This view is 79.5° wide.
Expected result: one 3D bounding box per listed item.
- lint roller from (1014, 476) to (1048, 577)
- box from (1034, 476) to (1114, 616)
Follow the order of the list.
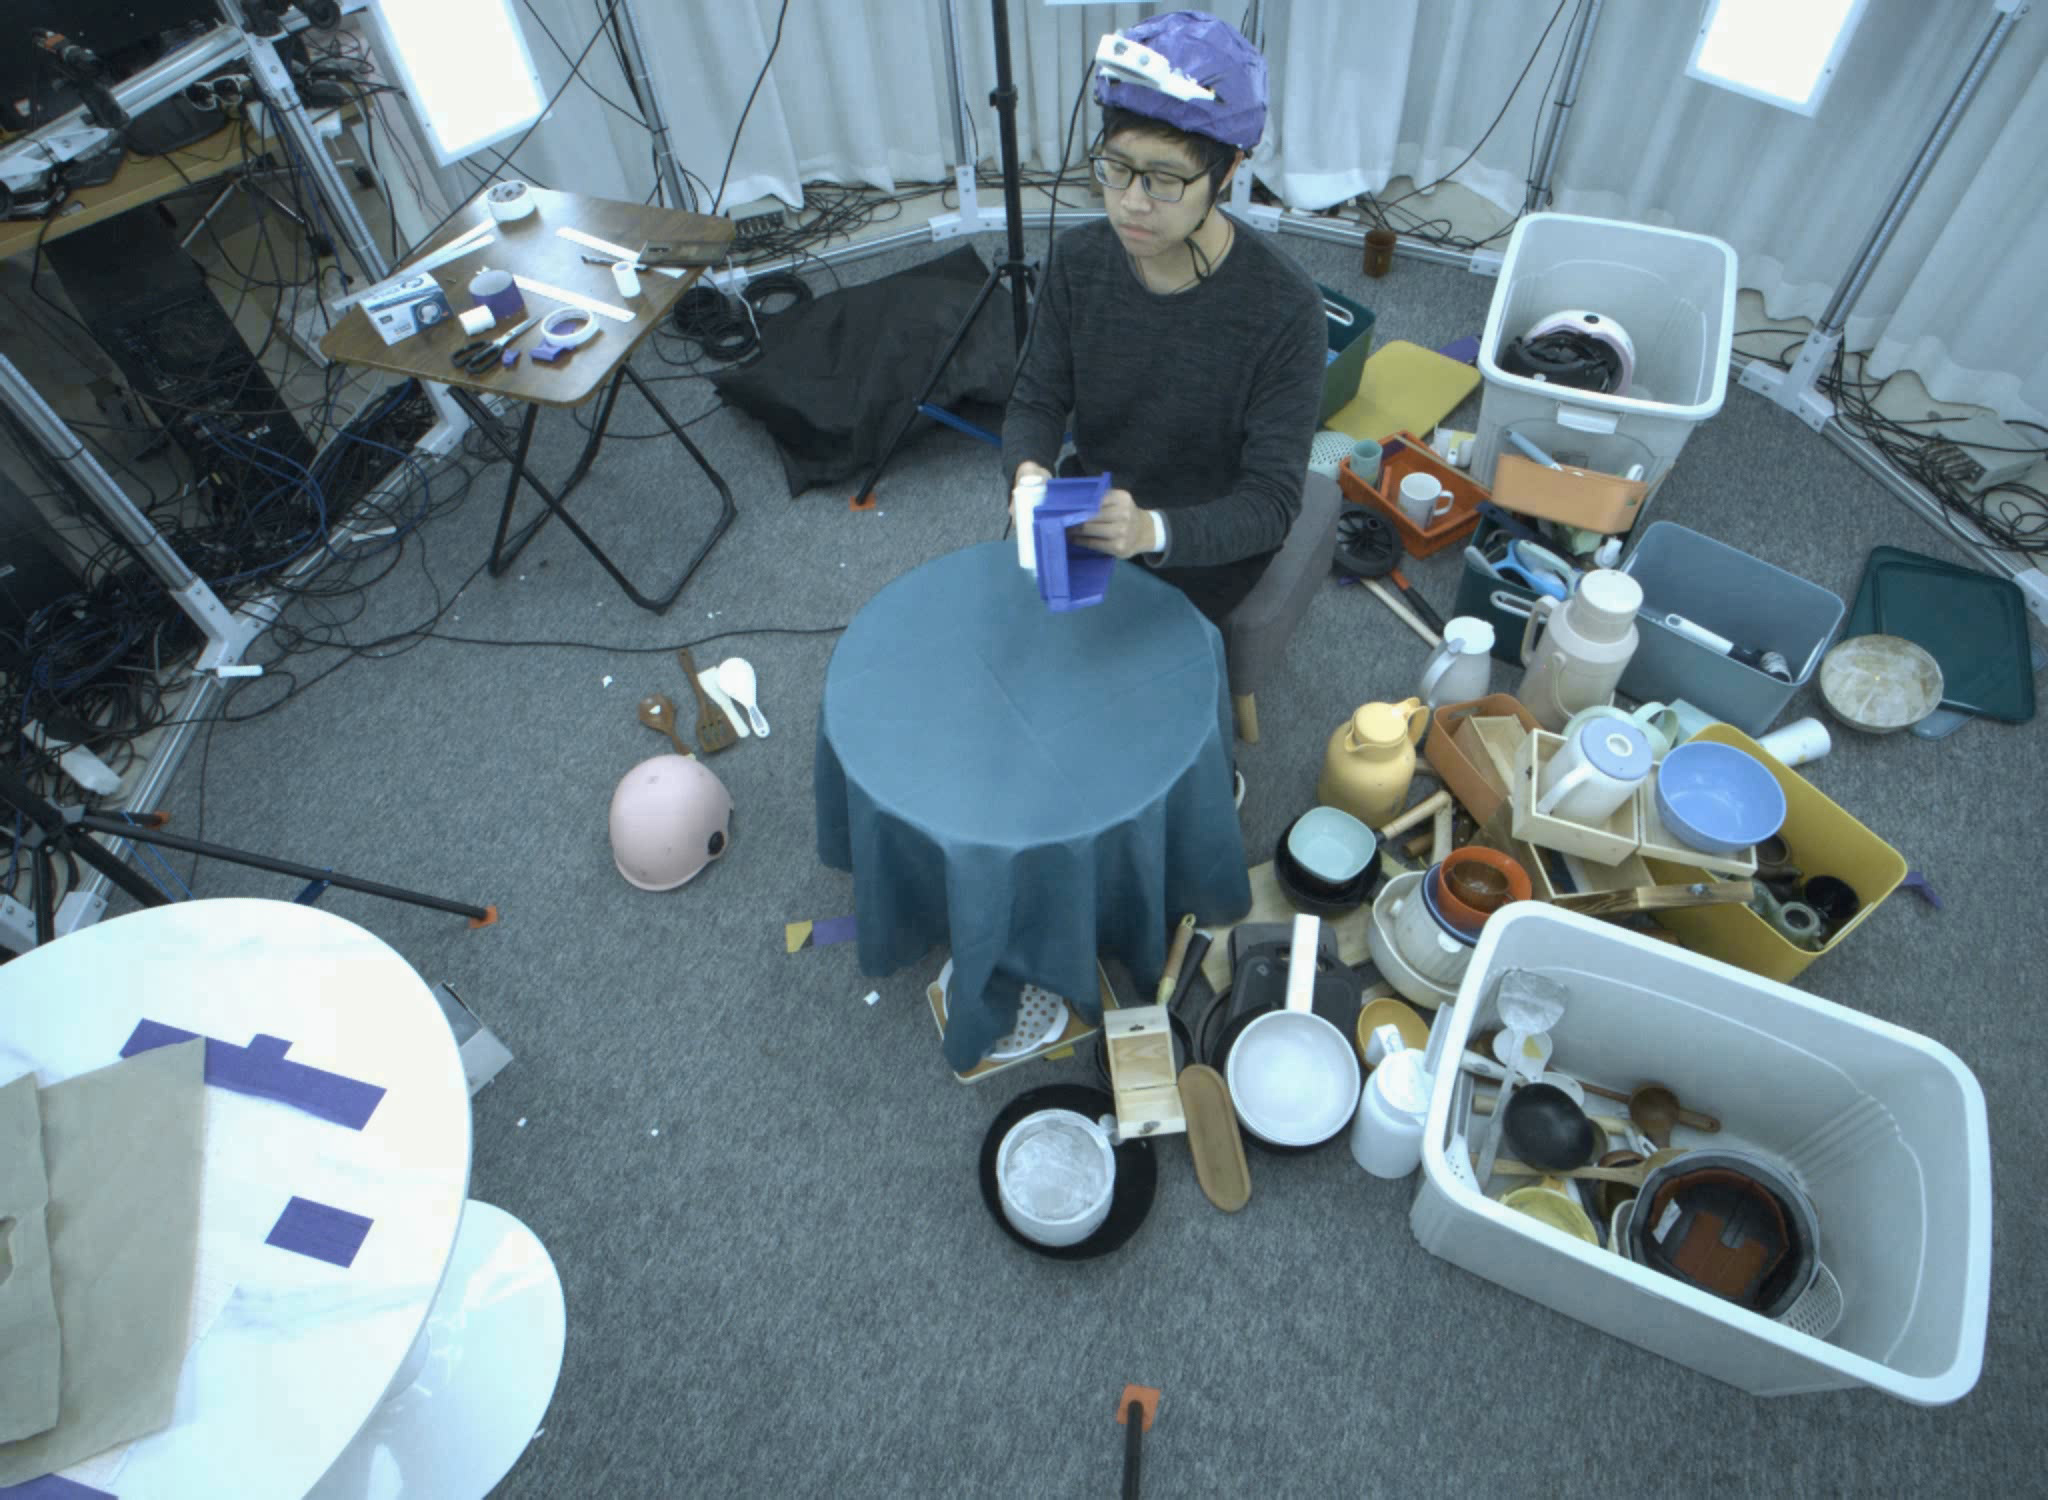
[{"bbox_3d":[0.006,-0.318,1.670,0.050,0.134,0.178,-8,24,-5],"label":"lint roller"},{"bbox_3d":[0.062,-0.257,1.539,0.081,0.126,0.178,0,30,9],"label":"box"}]
